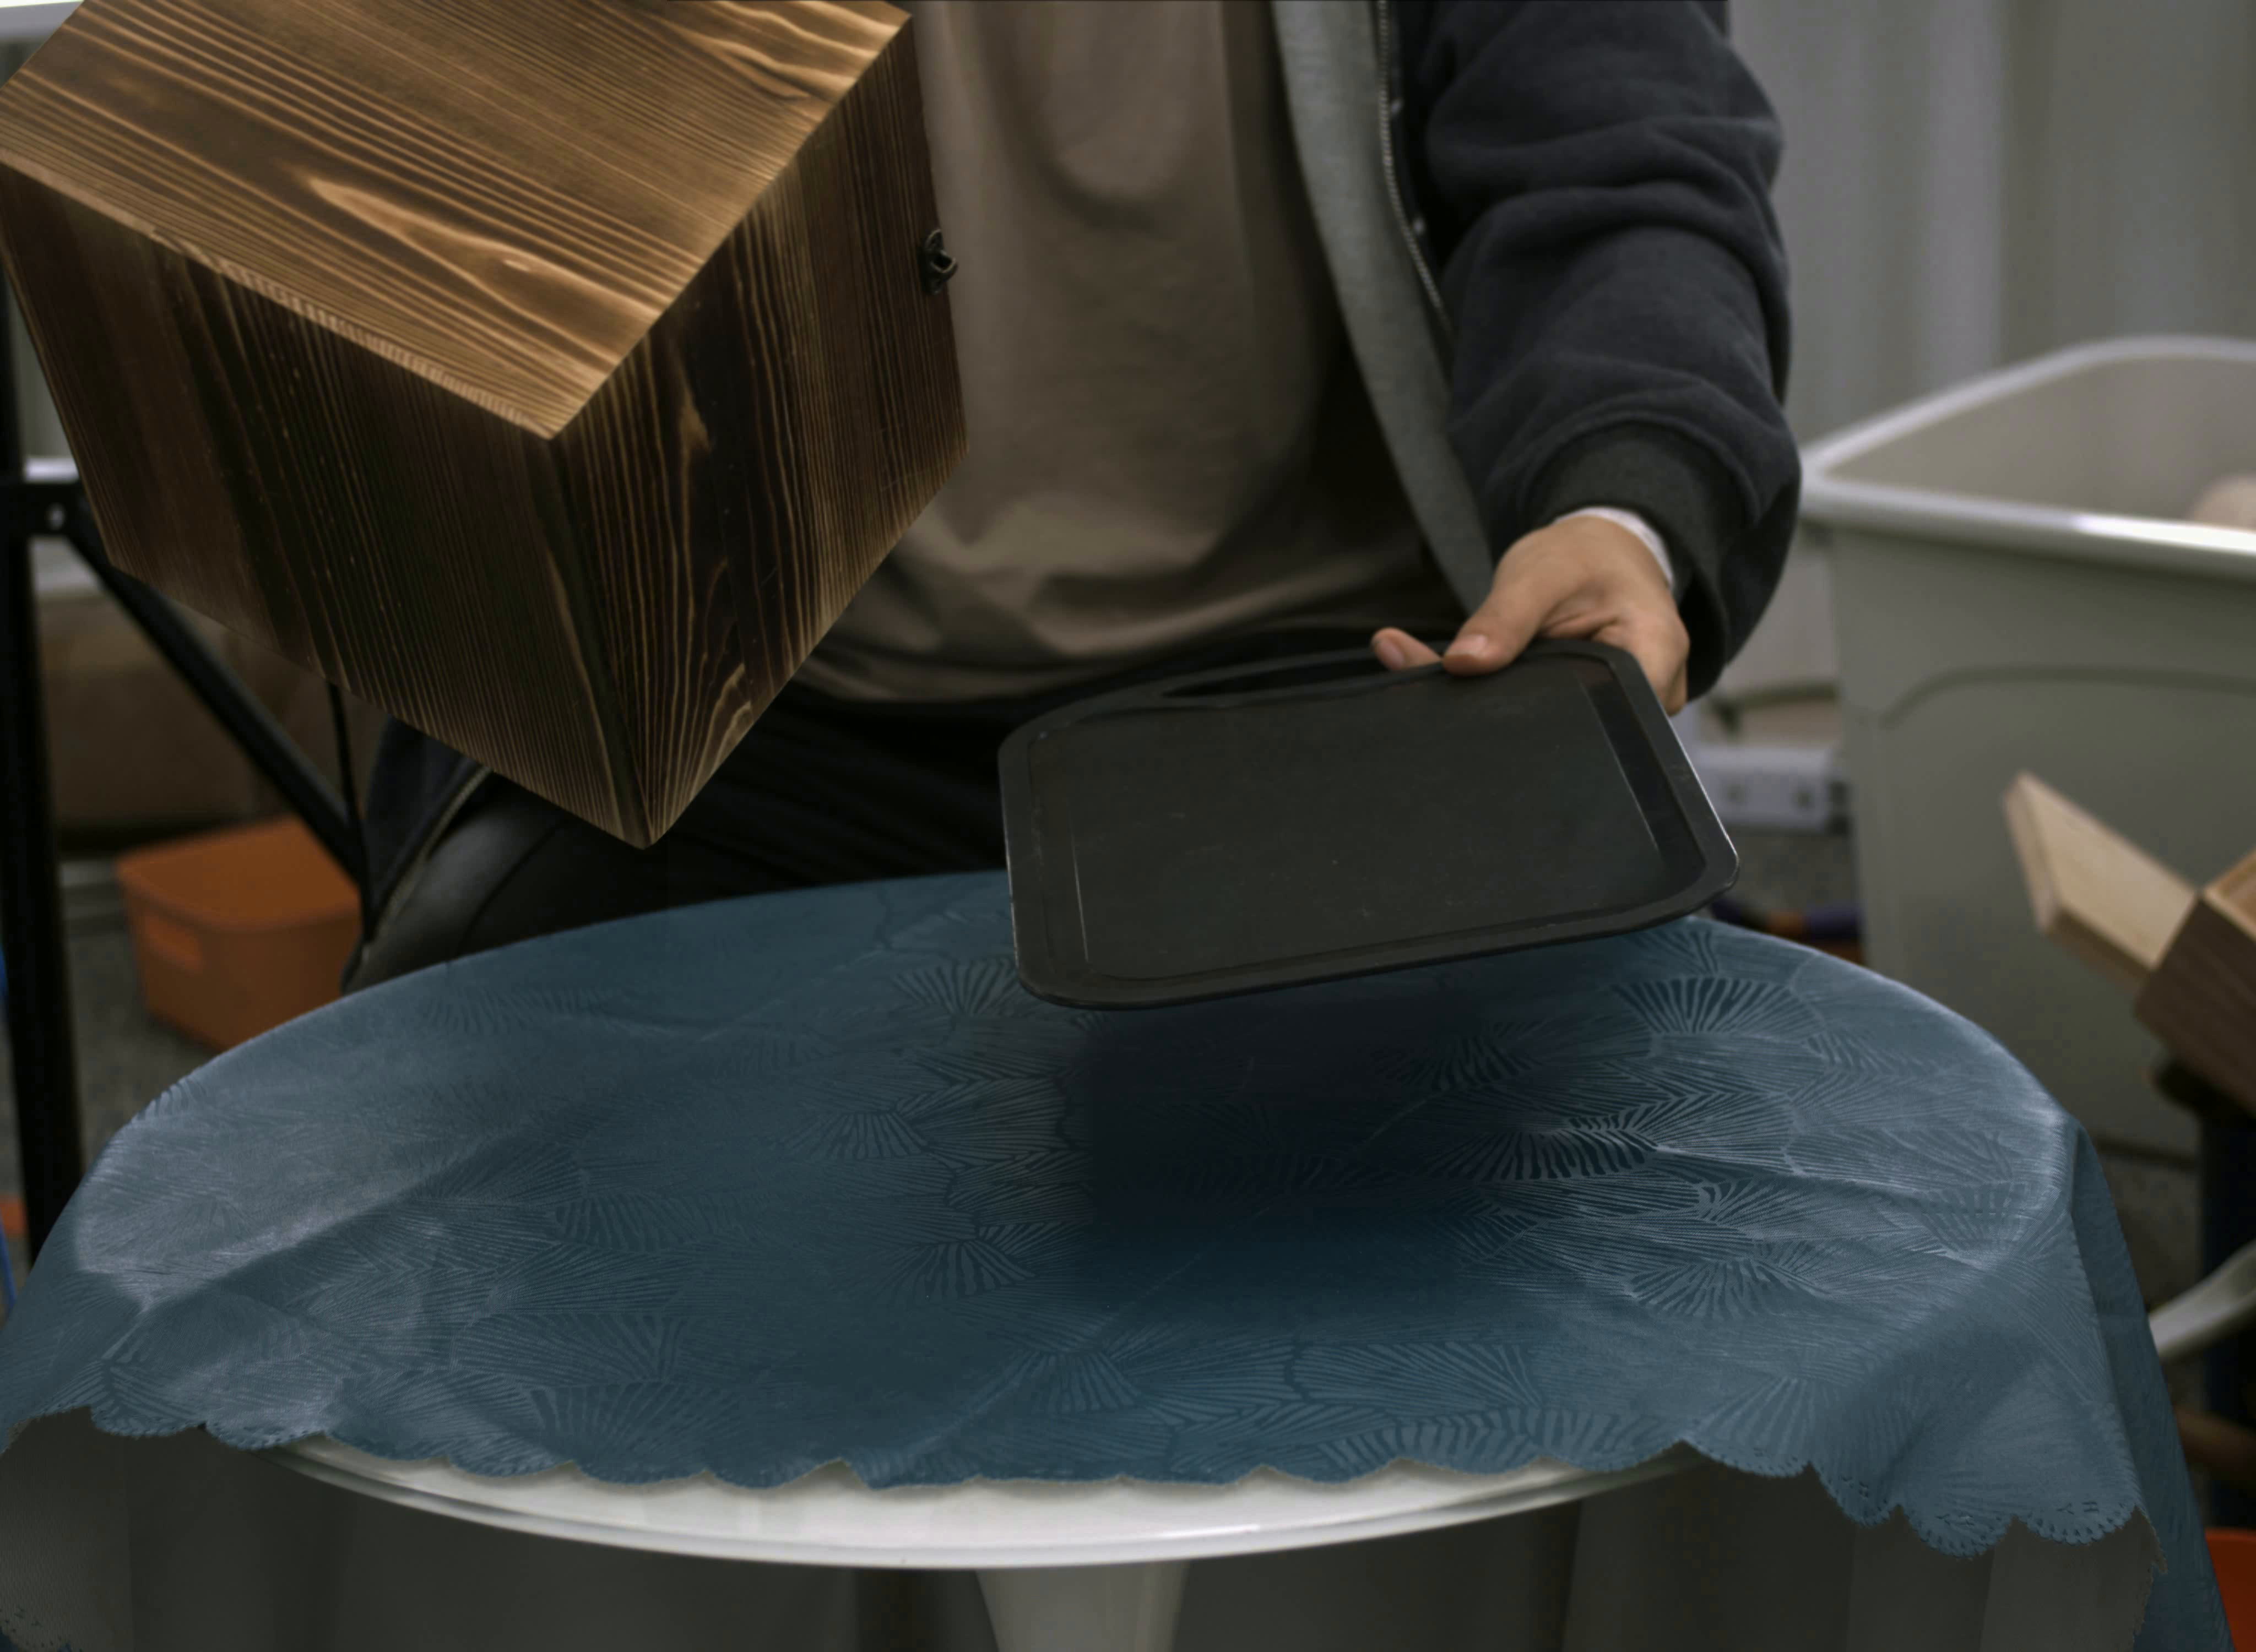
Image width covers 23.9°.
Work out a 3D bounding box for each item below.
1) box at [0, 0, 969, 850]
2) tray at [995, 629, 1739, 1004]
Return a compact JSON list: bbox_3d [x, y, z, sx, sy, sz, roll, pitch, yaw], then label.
[{"bbox_3d":[-0.174,-0.245,1.587,0.326,0.207,0.374,27,65,20],"label":"box"},{"bbox_3d":[0.064,-0.010,1.629,0.210,0.010,0.327,-9,18,1],"label":"tray"}]
